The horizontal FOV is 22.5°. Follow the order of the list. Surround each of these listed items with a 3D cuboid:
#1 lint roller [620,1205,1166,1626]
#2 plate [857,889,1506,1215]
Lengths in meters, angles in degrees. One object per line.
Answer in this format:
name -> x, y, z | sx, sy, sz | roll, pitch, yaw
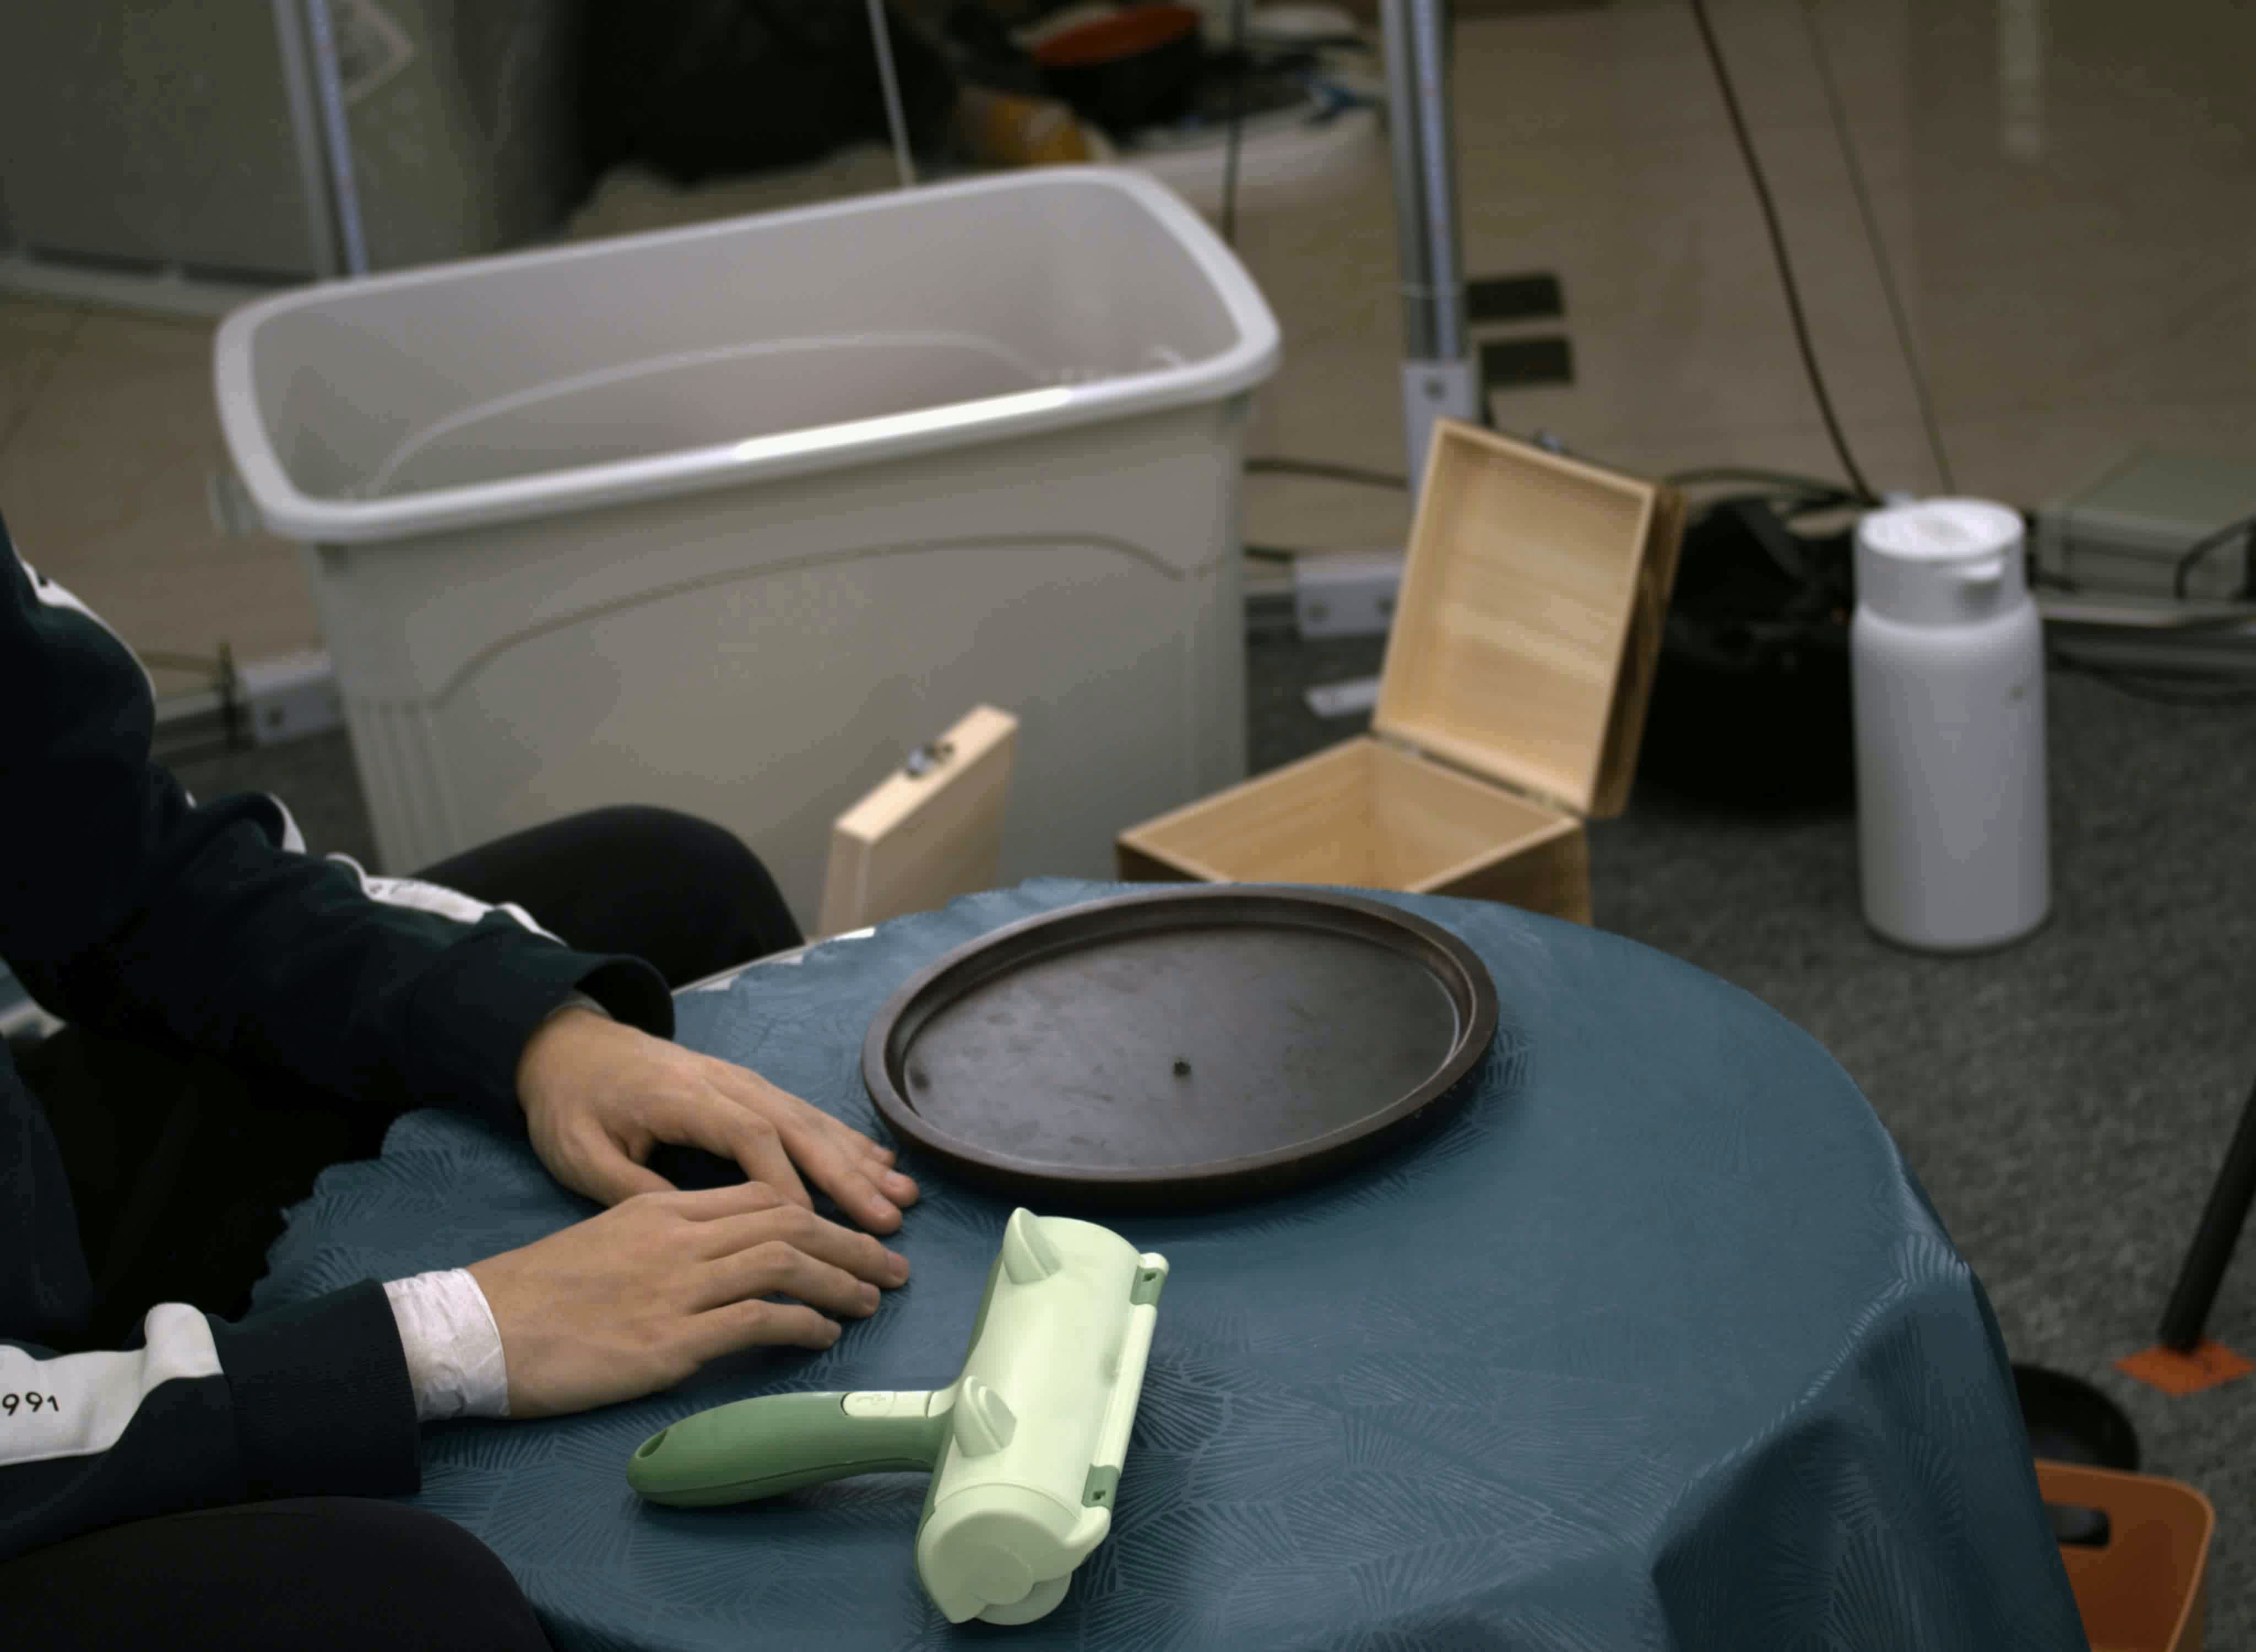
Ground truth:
lint roller -> -0.088, 0.195, 1.951 | 0.183, 0.083, 0.195 | 1, 26, 7
plate -> 0.022, 0.087, 2.222 | 0.254, 0.029, 0.251 | -5, 26, 2
